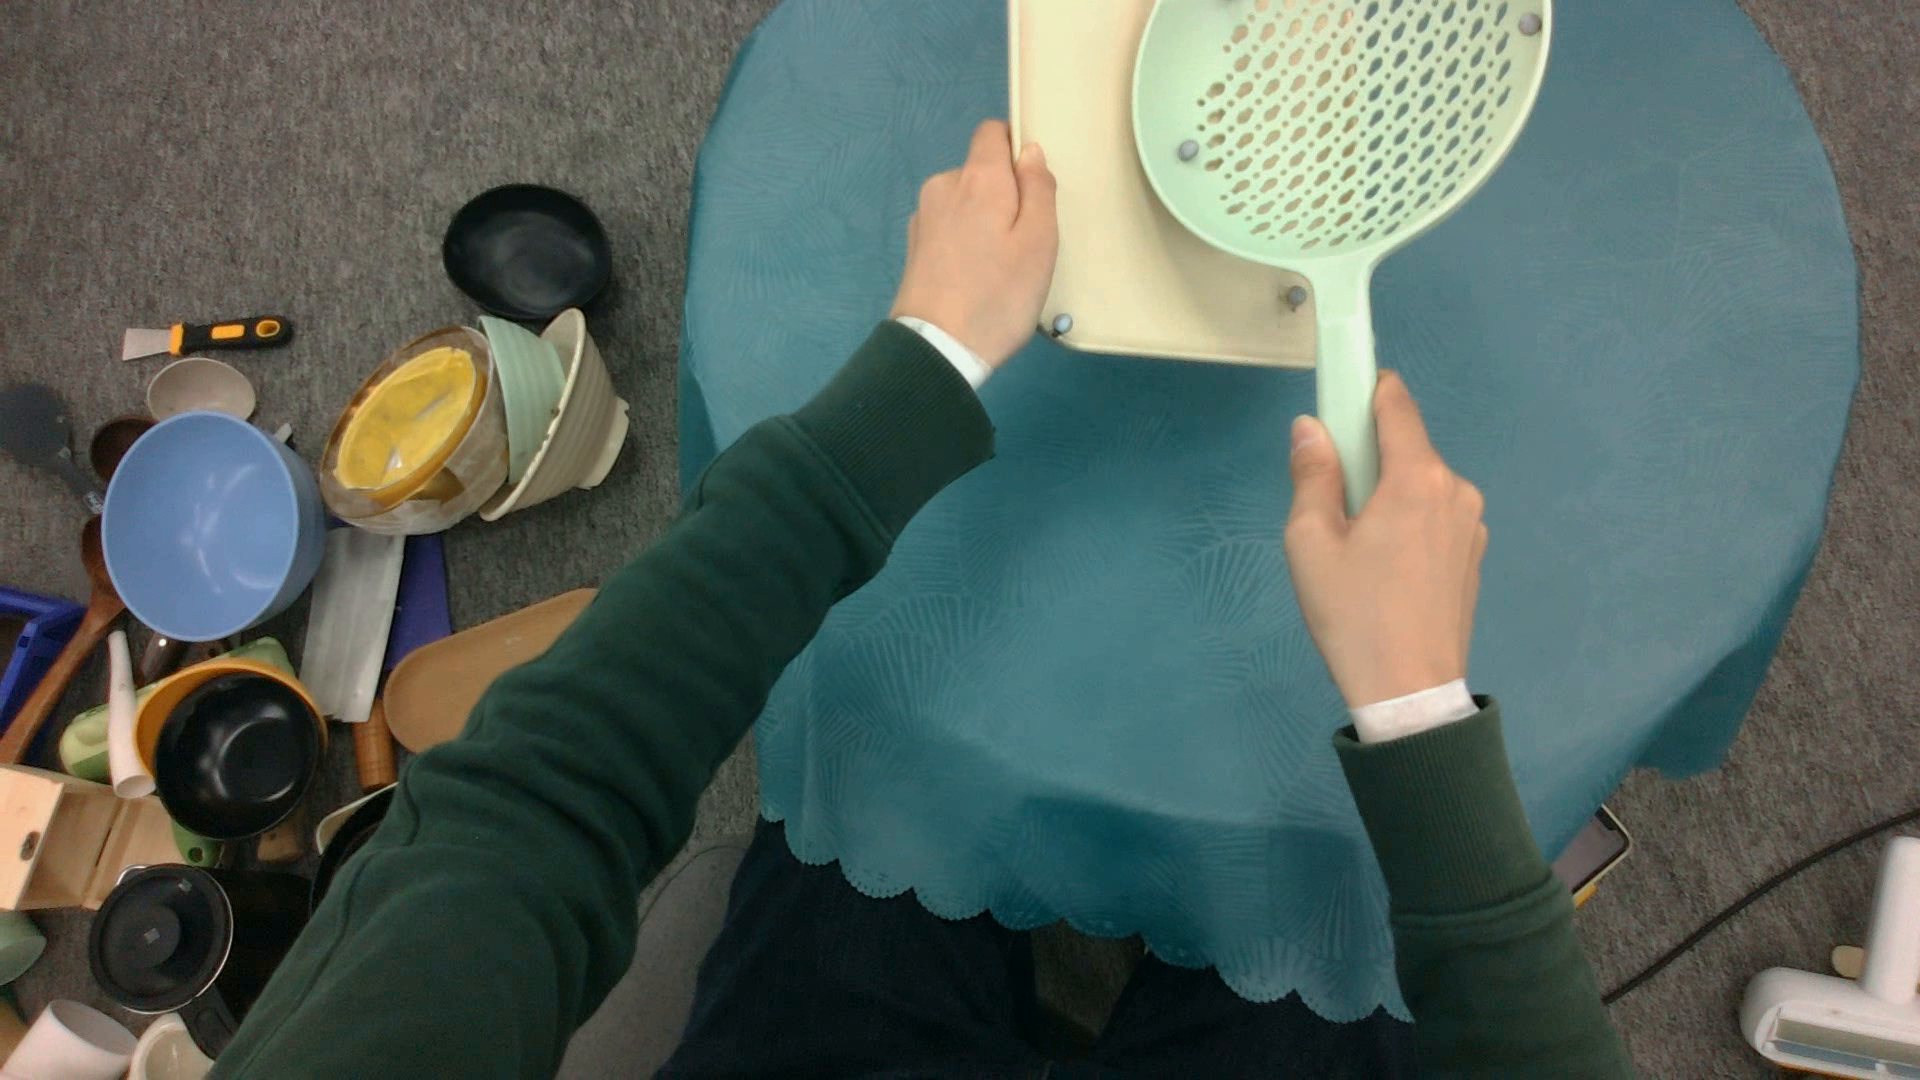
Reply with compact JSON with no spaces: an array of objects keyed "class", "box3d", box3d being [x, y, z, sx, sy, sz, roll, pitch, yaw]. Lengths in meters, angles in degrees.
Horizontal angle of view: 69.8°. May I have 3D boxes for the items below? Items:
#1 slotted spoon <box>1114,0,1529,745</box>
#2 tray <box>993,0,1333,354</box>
[{"class":"slotted spoon","box3d":[0.149,-0.102,0.556,0.169,0.075,0.359,-6,73,31]},{"class":"tray","box3d":[0.093,-0.202,0.616,0.171,0.017,0.240,1,83,-20]}]
